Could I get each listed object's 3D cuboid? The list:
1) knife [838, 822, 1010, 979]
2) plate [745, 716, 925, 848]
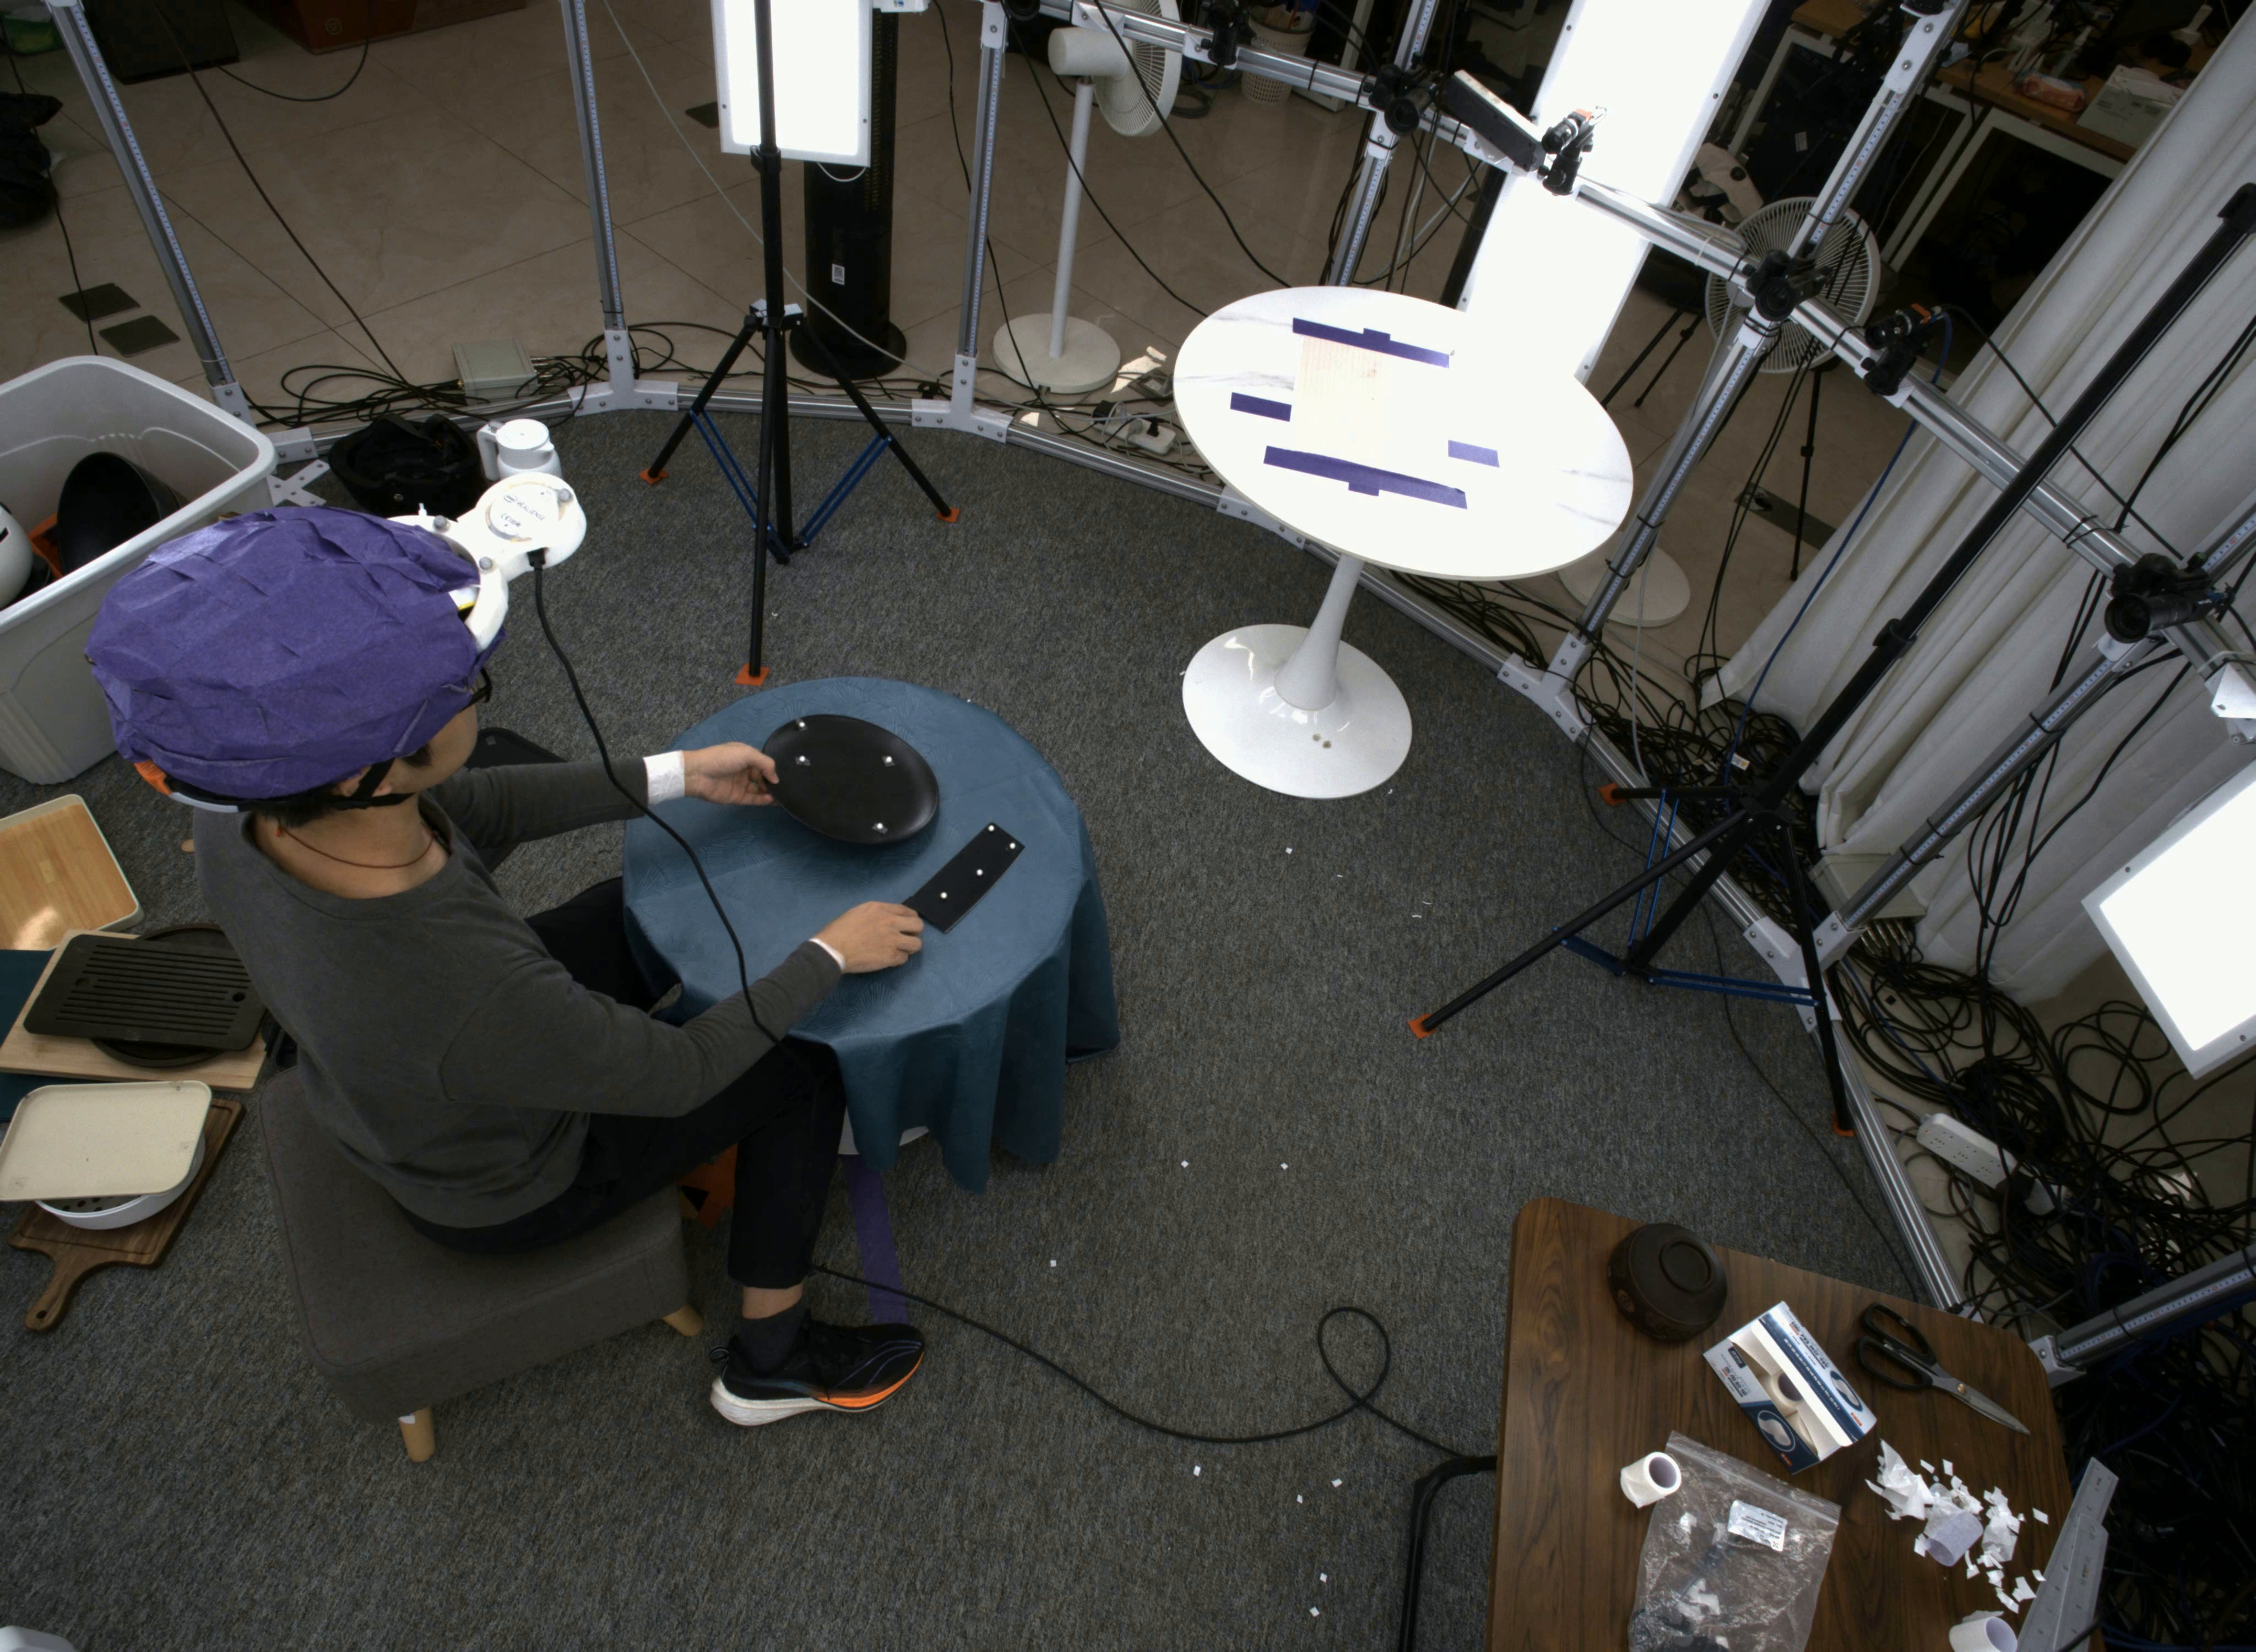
[{"bbox_3d":[-0.265,0.096,1.696,0.079,0.021,0.302,39,53,11],"label":"knife"},{"bbox_3d":[-0.393,-0.057,1.740,0.246,0.024,0.239,19,40,-15],"label":"plate"}]
